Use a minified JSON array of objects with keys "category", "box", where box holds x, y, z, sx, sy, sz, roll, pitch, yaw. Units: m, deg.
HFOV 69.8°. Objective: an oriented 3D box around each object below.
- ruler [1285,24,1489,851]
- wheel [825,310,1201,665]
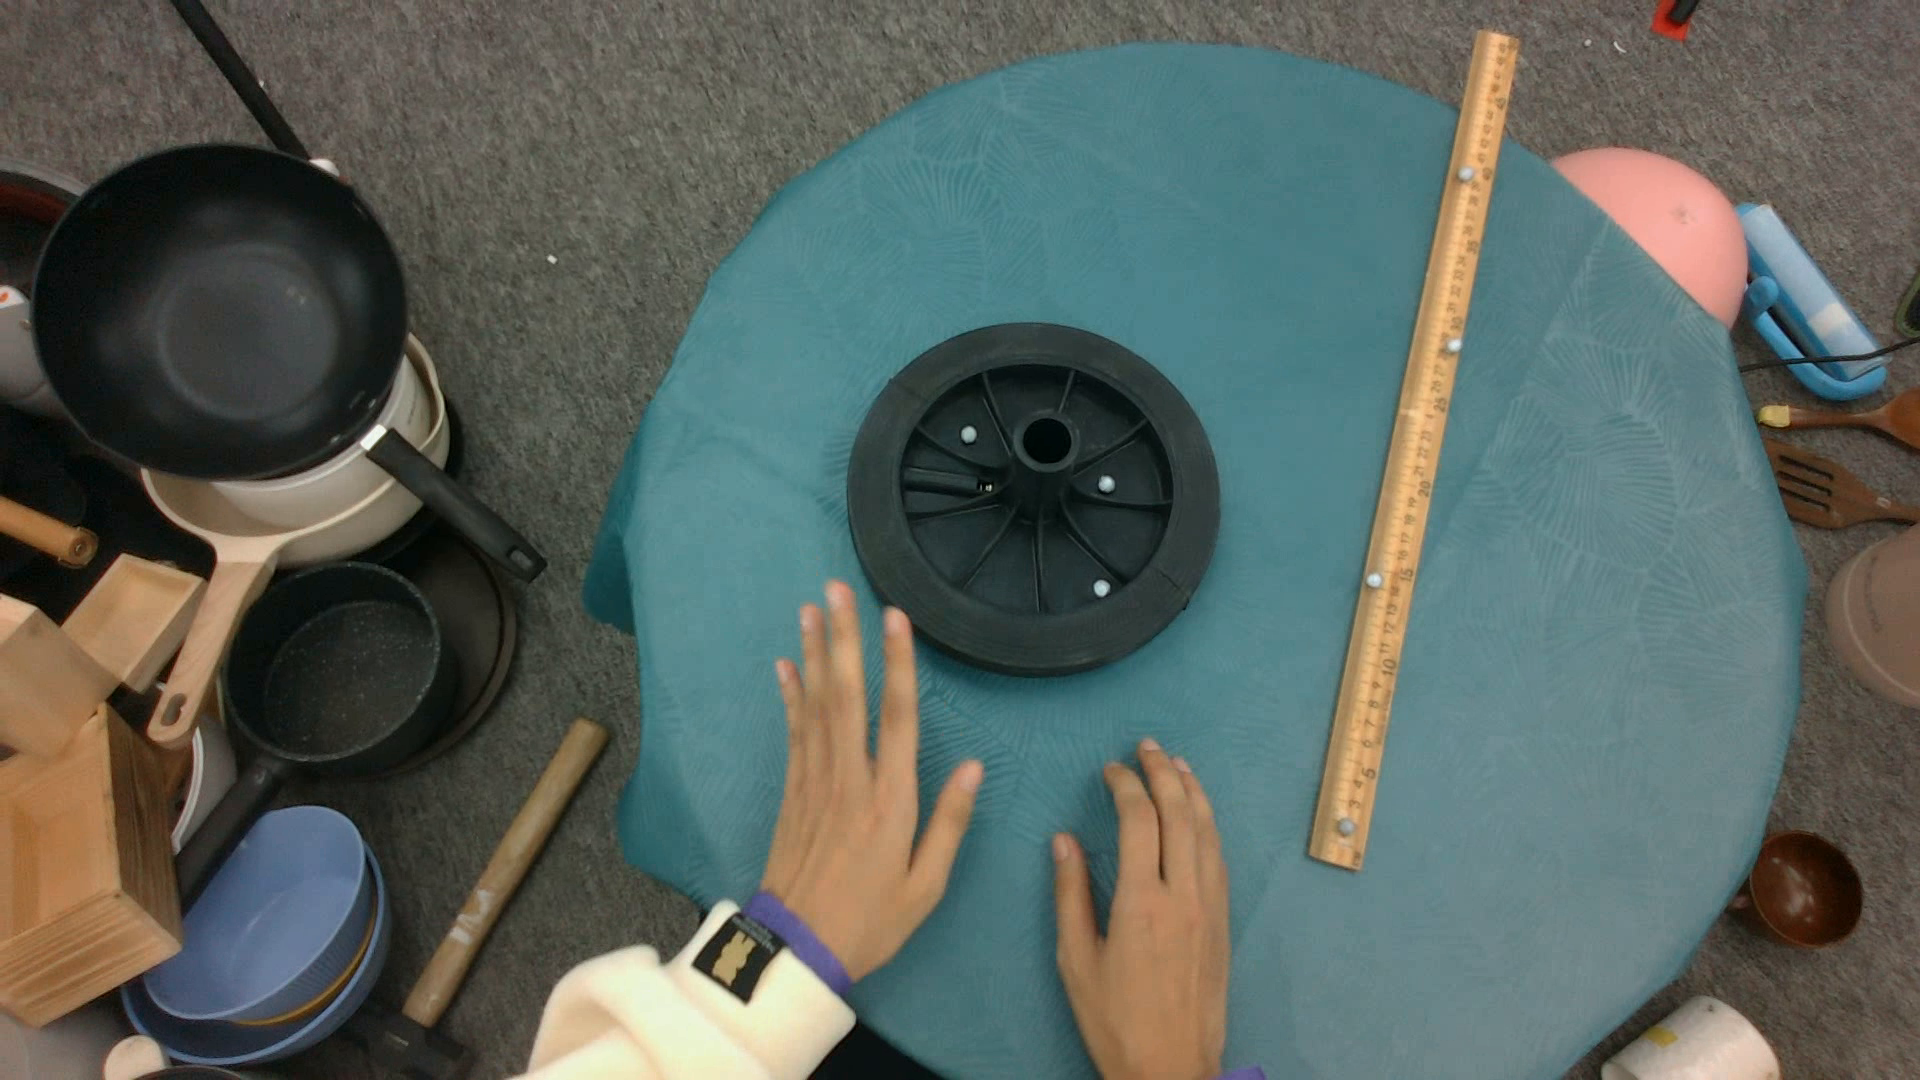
[{"category":"ruler","box":[0.235,-0.080,0.736,0.027,0.006,0.502,16,70,2]},{"category":"wheel","box":[0.028,-0.037,0.672,0.190,0.079,0.188,-14,71,-9]}]
